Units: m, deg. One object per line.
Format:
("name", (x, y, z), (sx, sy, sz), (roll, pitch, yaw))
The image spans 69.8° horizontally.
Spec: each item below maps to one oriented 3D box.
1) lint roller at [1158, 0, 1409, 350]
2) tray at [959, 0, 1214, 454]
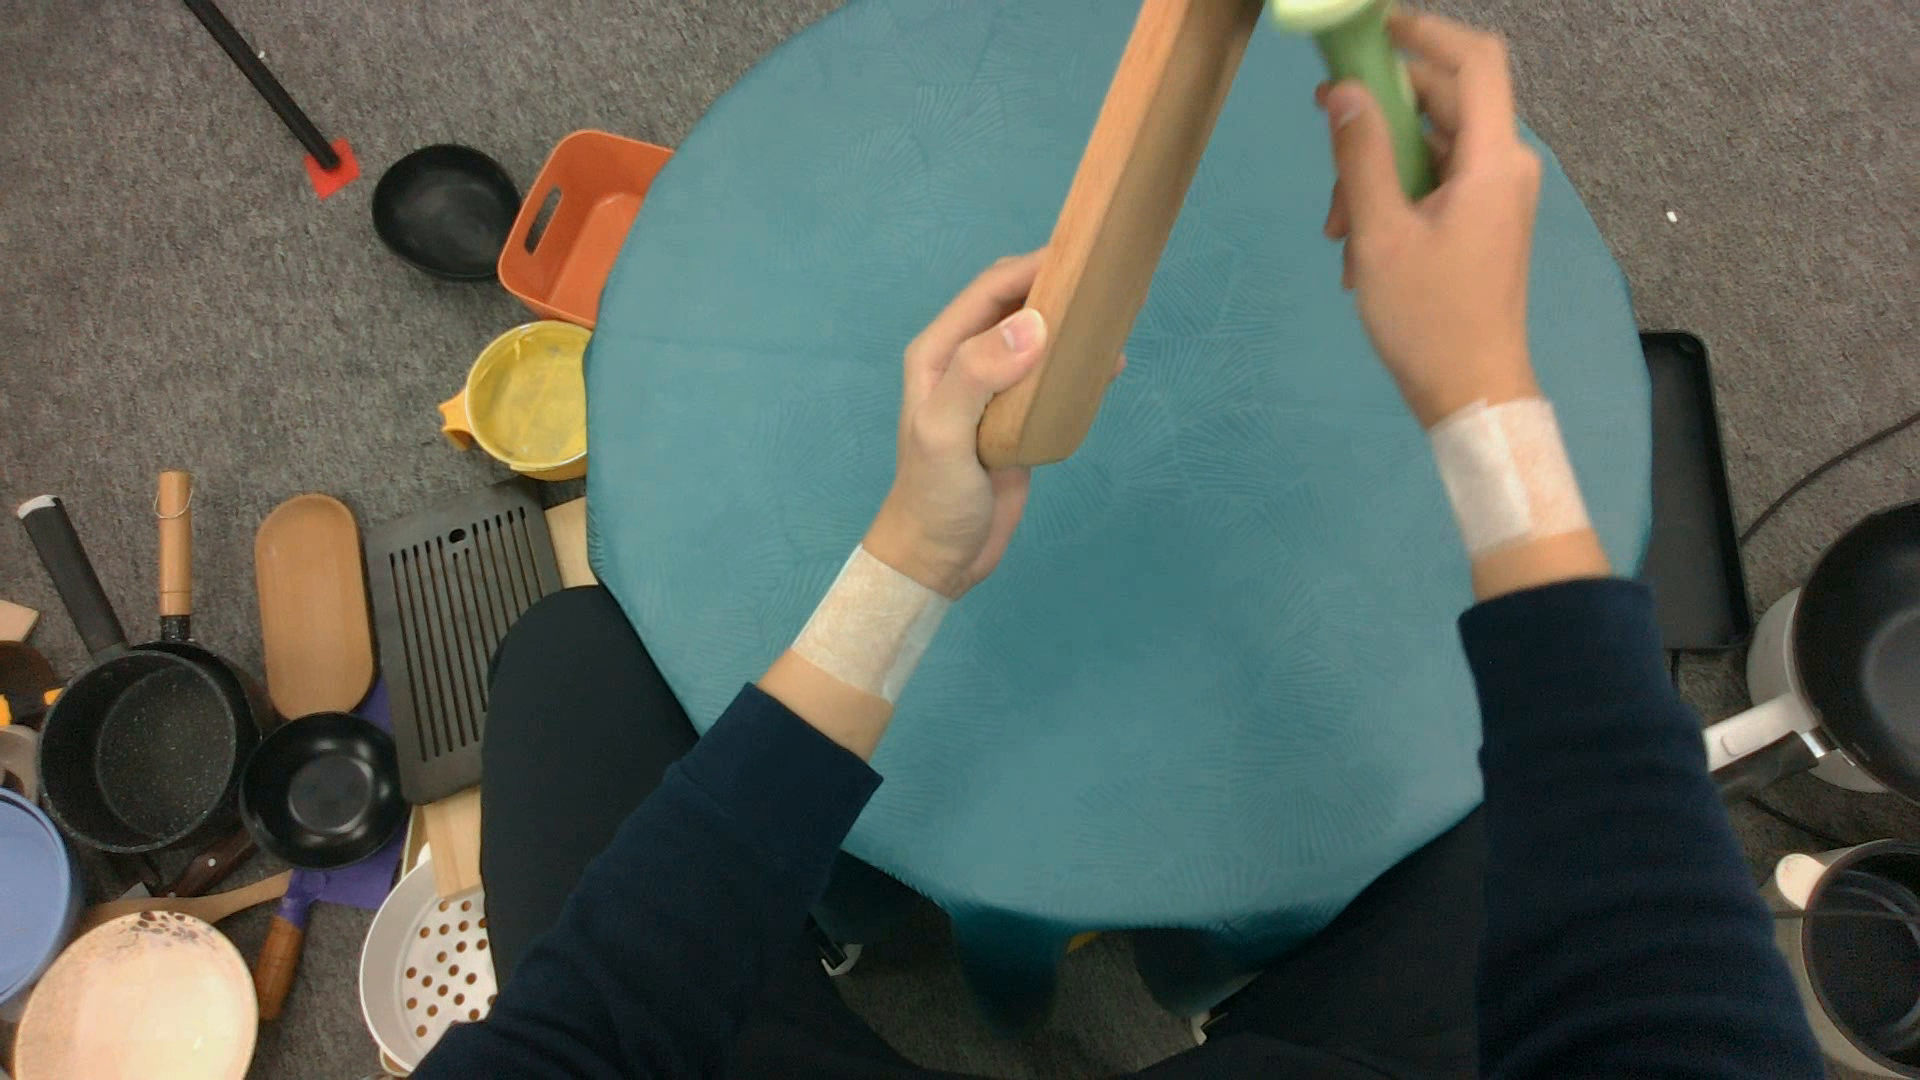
("lint roller", (0.155, -0.170, 0.548), (0.082, 0.199, 0.183), (-29, 98, 27))
("tray", (0.059, -0.153, 0.549), (0.023, 0.131, 0.250), (22, 103, 16))
